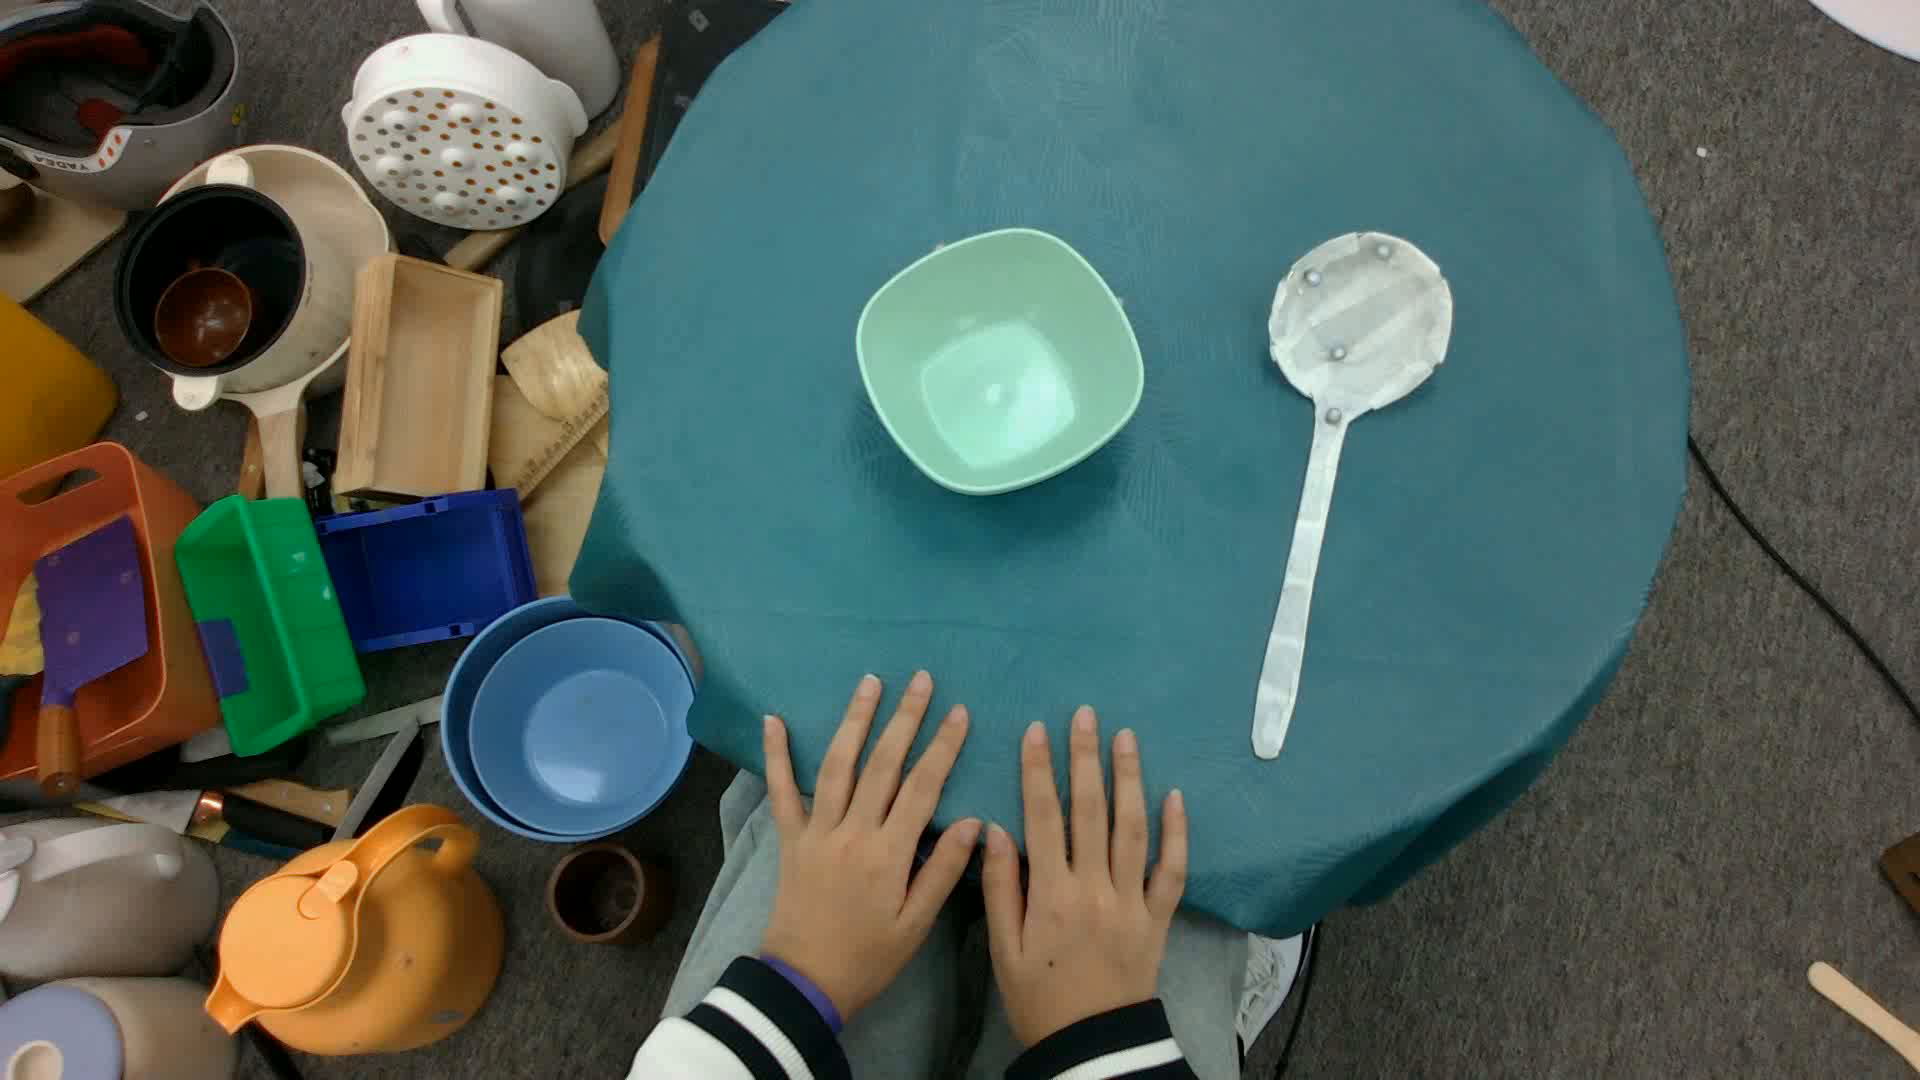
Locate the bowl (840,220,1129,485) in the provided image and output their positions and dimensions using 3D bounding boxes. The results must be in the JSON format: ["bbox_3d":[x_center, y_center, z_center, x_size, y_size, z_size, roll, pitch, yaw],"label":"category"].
[{"bbox_3d":[0.012,-0.091,0.732,0.151,0.058,0.152,0,72,0],"label":"bowl"}]

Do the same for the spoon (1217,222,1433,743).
[{"bbox_3d":[0.172,-0.033,0.711,0.100,0.059,0.278,16,73,9],"label":"spoon"}]
